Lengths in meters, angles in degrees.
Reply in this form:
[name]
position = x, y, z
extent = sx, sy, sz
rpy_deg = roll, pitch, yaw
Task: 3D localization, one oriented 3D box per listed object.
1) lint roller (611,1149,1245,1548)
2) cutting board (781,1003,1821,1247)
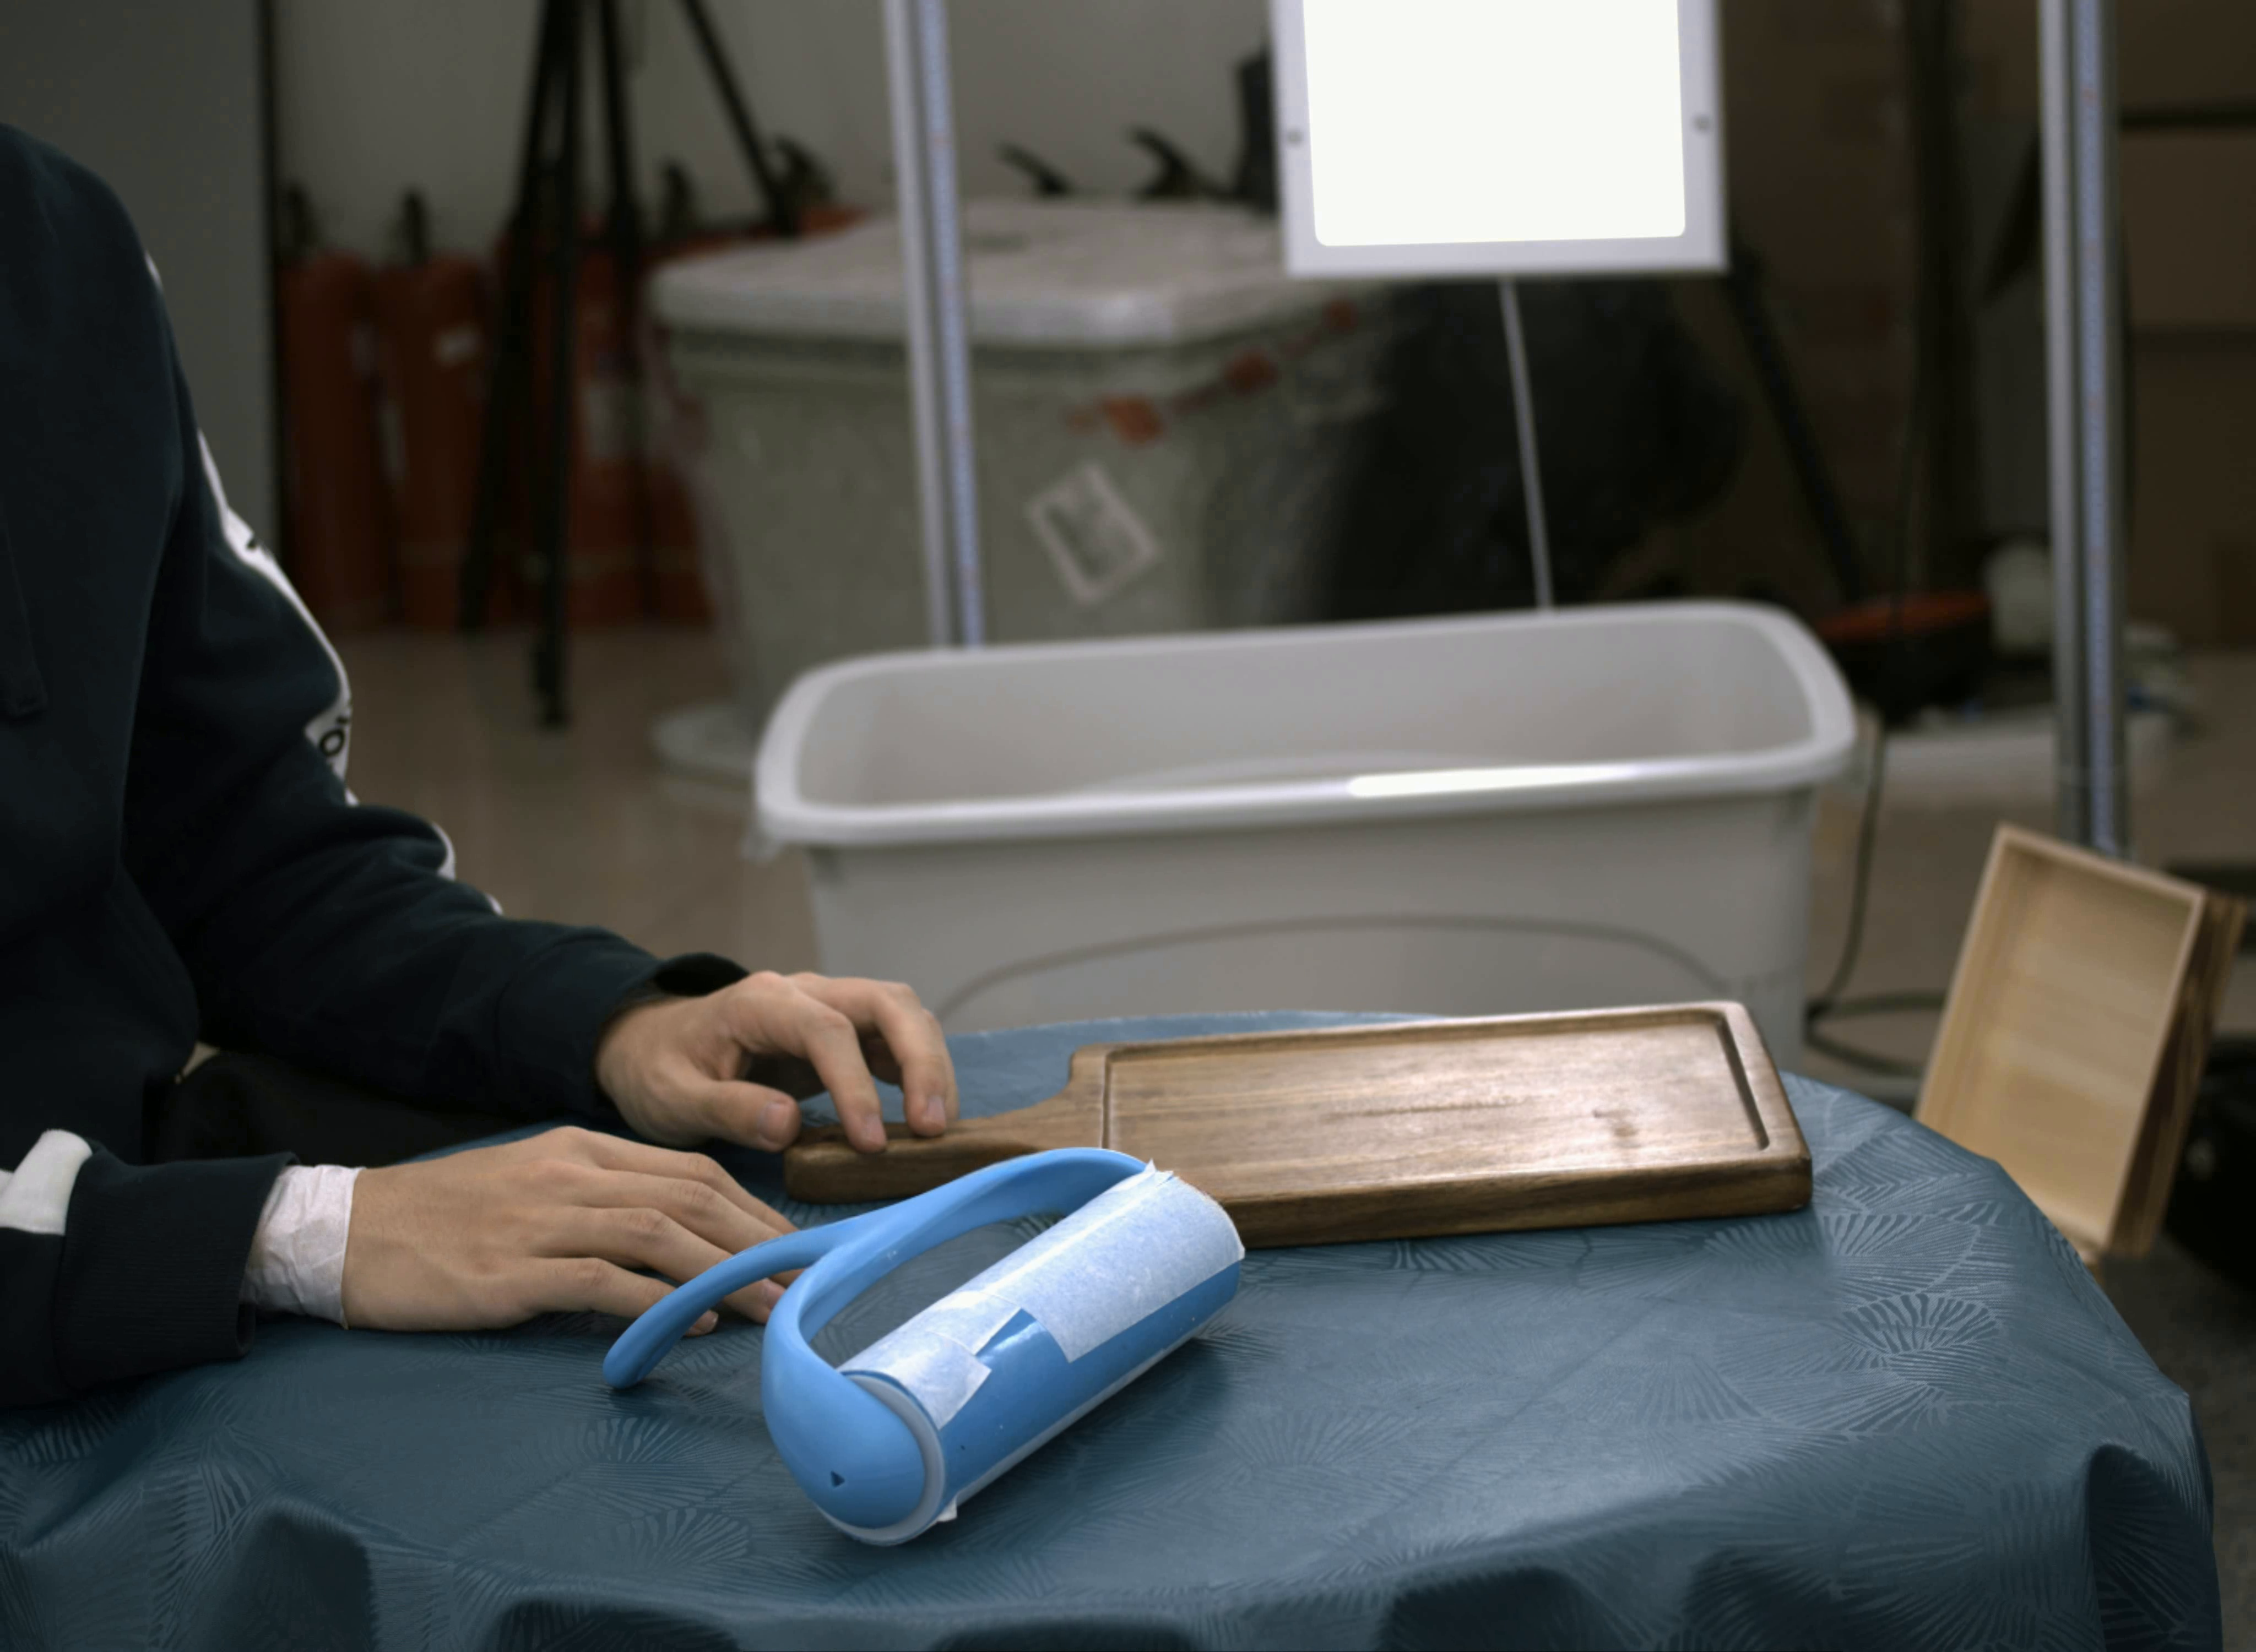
[lint roller]
position = -0.083, 0.154, 1.692
extent = 0.183, 0.068, 0.224
rpy_deg = 3, 18, 26
[cutting board]
position = 0.055, 0.107, 1.910
extent = 0.352, 0.023, 0.200
rpy_deg = -4, 13, 3
